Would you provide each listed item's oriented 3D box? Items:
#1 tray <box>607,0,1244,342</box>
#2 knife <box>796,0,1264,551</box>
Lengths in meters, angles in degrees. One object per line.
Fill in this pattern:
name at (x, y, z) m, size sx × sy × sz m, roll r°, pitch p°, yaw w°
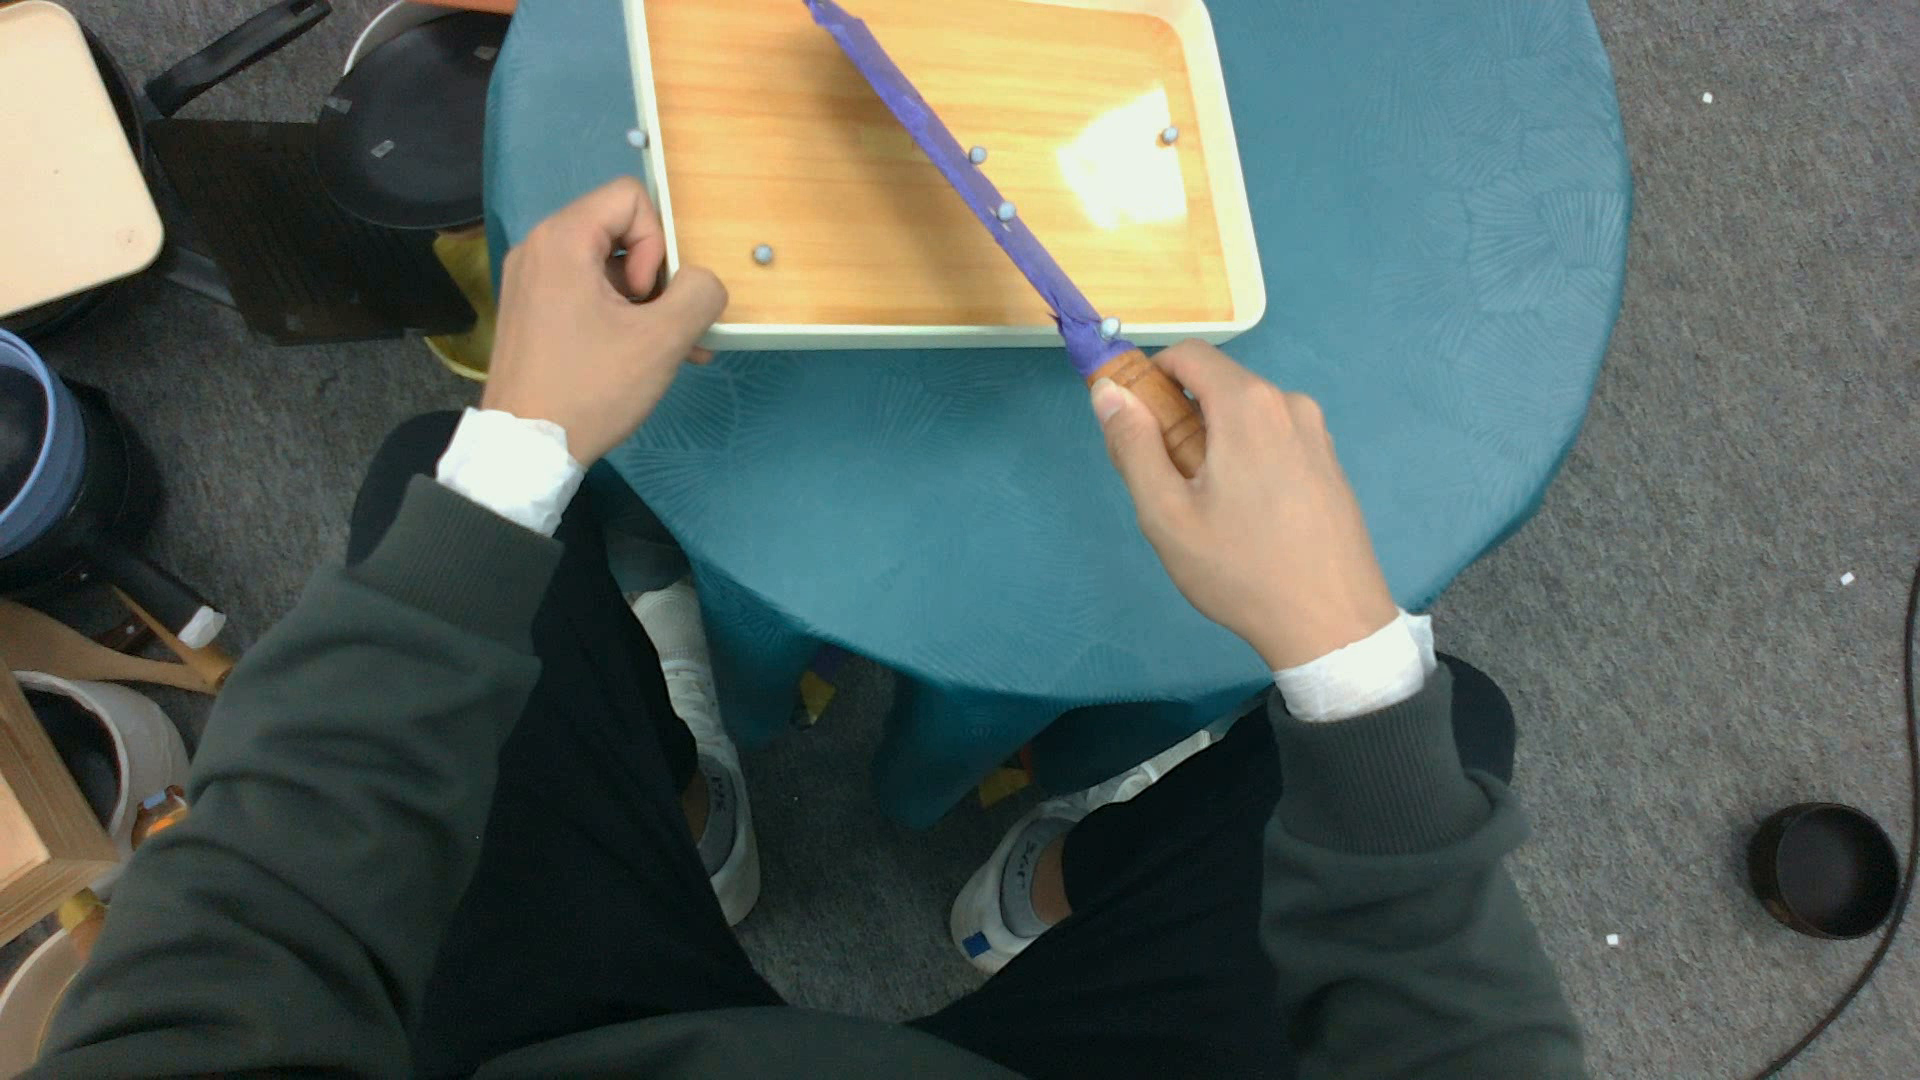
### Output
tray at (-0.008, -0.188, 0.654) m, size 0.301 × 0.027 × 0.192 m, roll -4°, pitch 79°, yaw -26°
knife at (0.025, -0.130, 0.586) m, size 0.032 × 0.104 × 0.315 m, roll -39°, pitch 81°, yaw 19°
